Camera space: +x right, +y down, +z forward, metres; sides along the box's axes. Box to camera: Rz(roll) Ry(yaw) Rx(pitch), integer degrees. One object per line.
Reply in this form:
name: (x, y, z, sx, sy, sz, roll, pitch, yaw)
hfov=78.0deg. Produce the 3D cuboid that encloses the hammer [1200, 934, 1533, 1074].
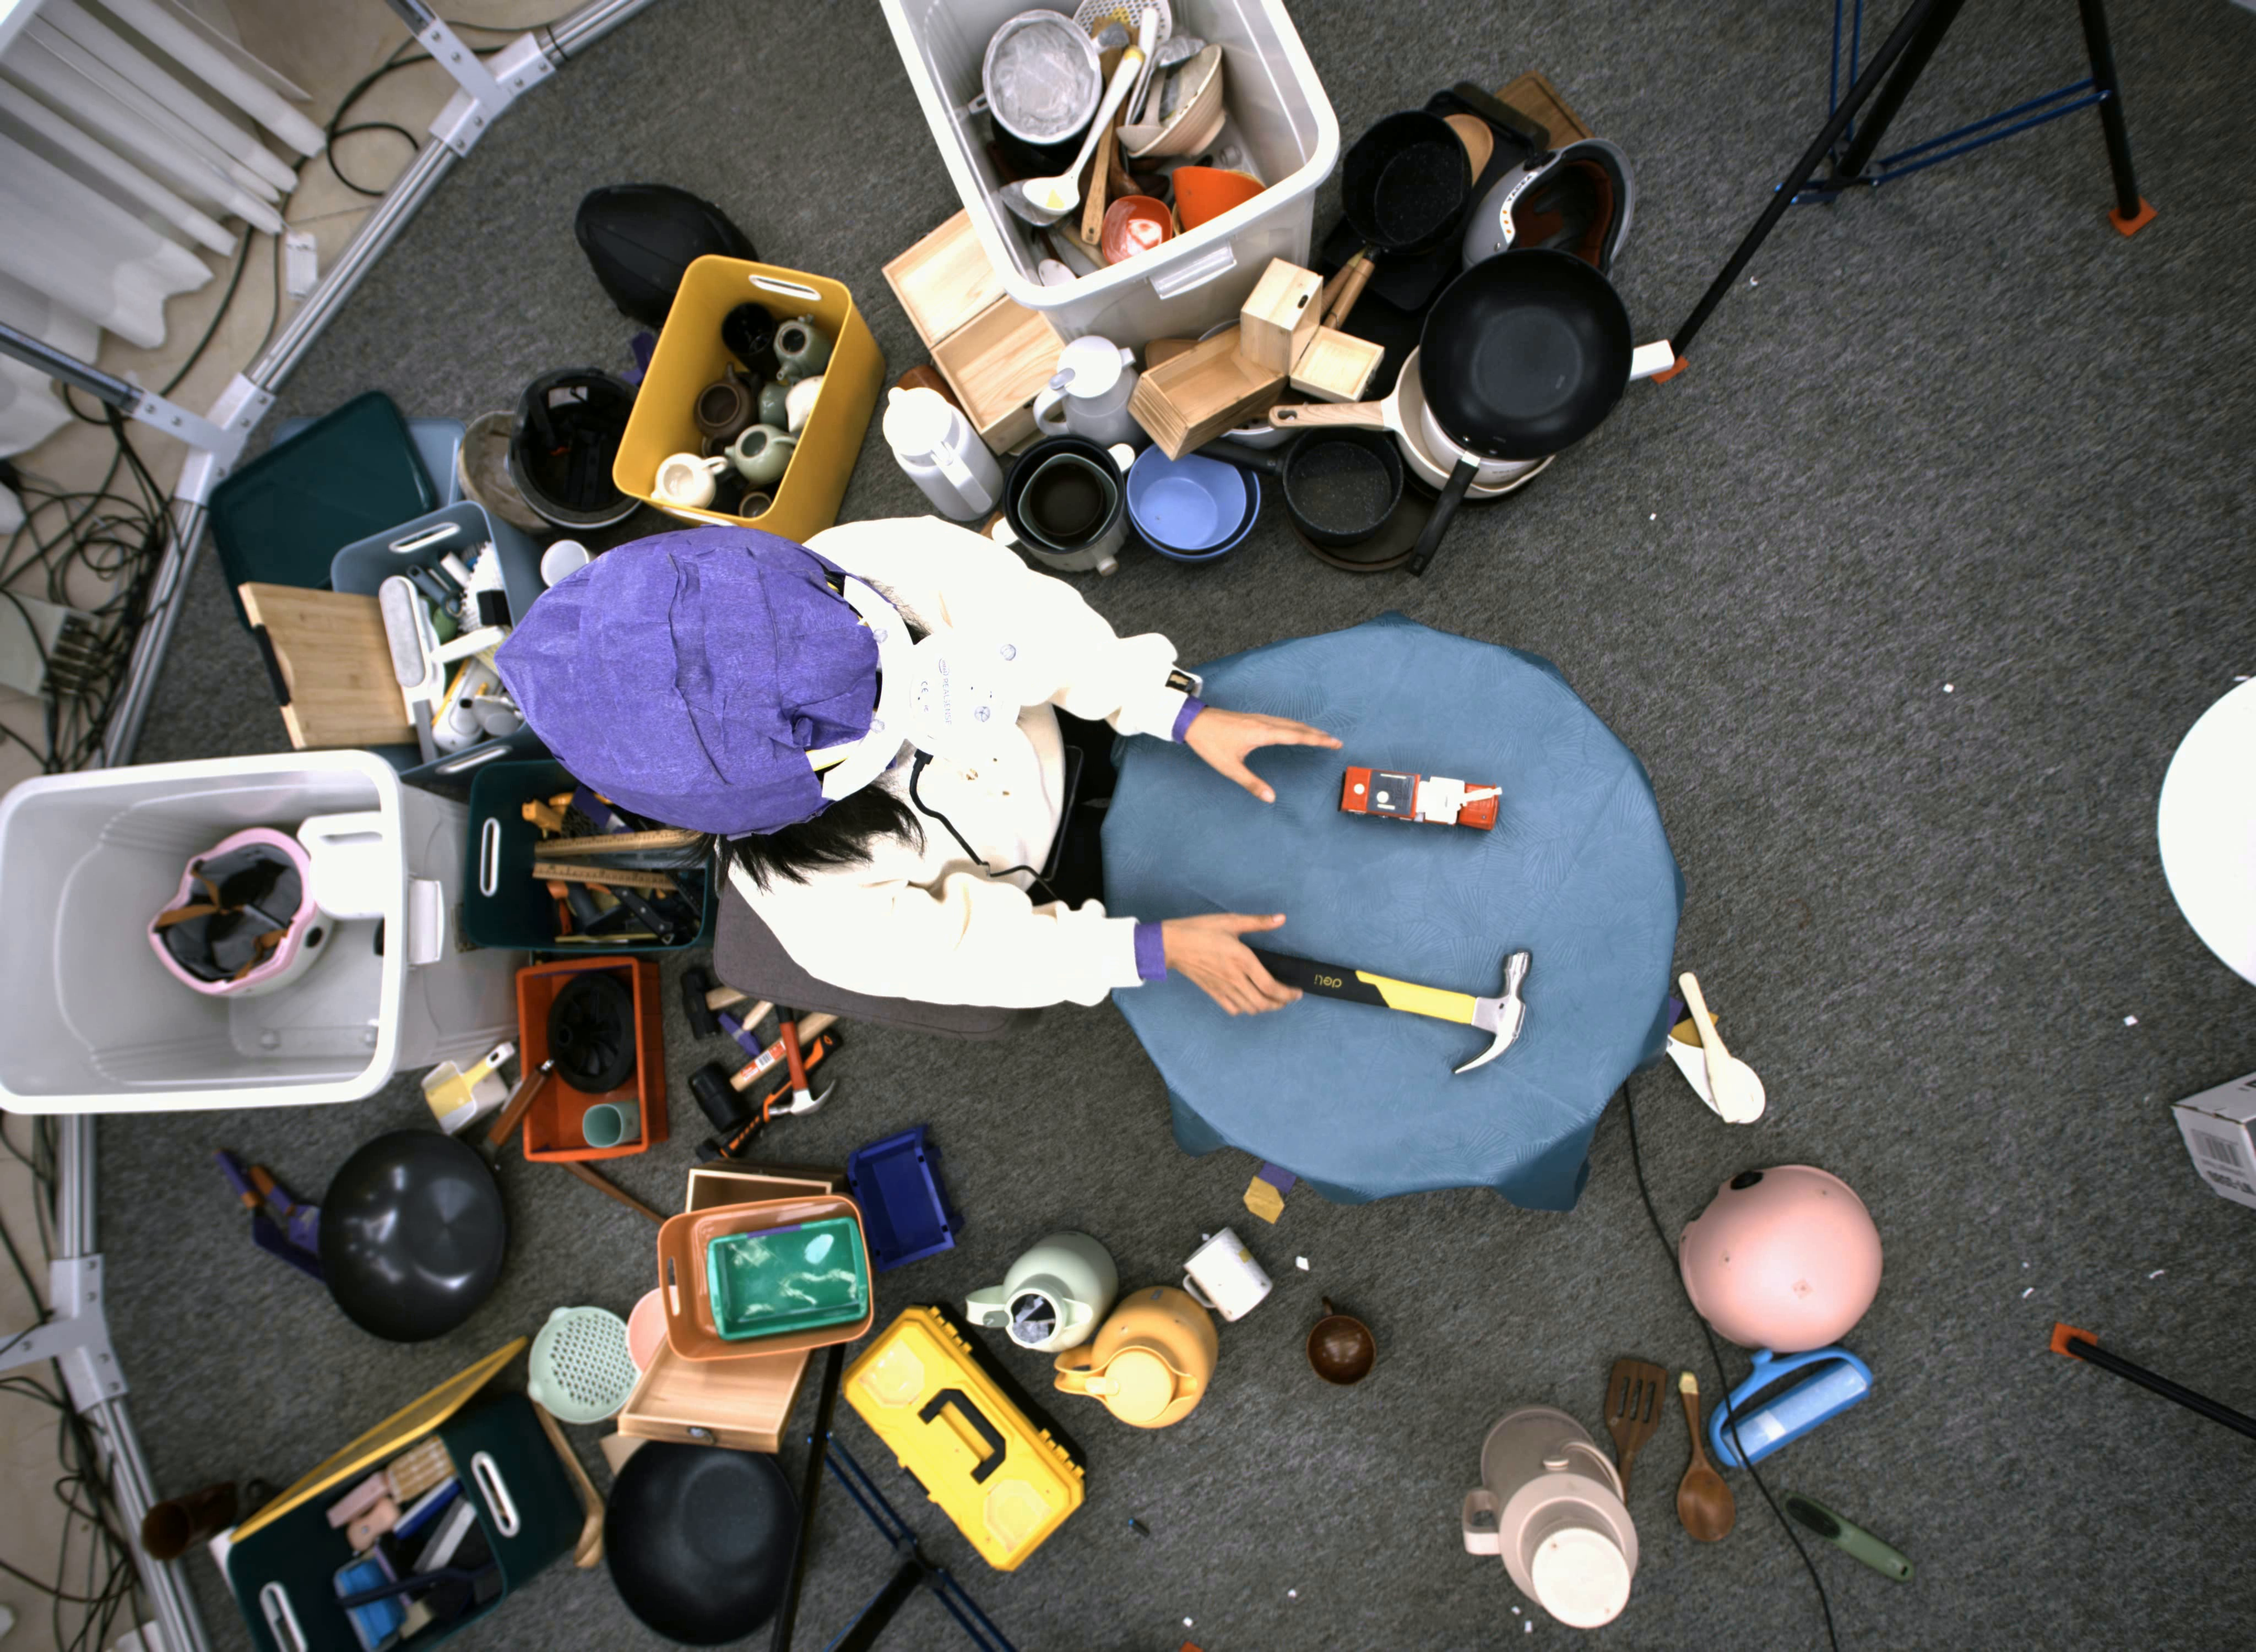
hammer: (0.241, 0.165, 1.441, 0.339, 0.032, 0.131, 12, 90, 10)

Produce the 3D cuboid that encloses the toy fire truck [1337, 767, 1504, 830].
toy fire truck: (0.303, -0.030, 1.430, 0.168, 0.070, 0.054, 7, 86, 12)
